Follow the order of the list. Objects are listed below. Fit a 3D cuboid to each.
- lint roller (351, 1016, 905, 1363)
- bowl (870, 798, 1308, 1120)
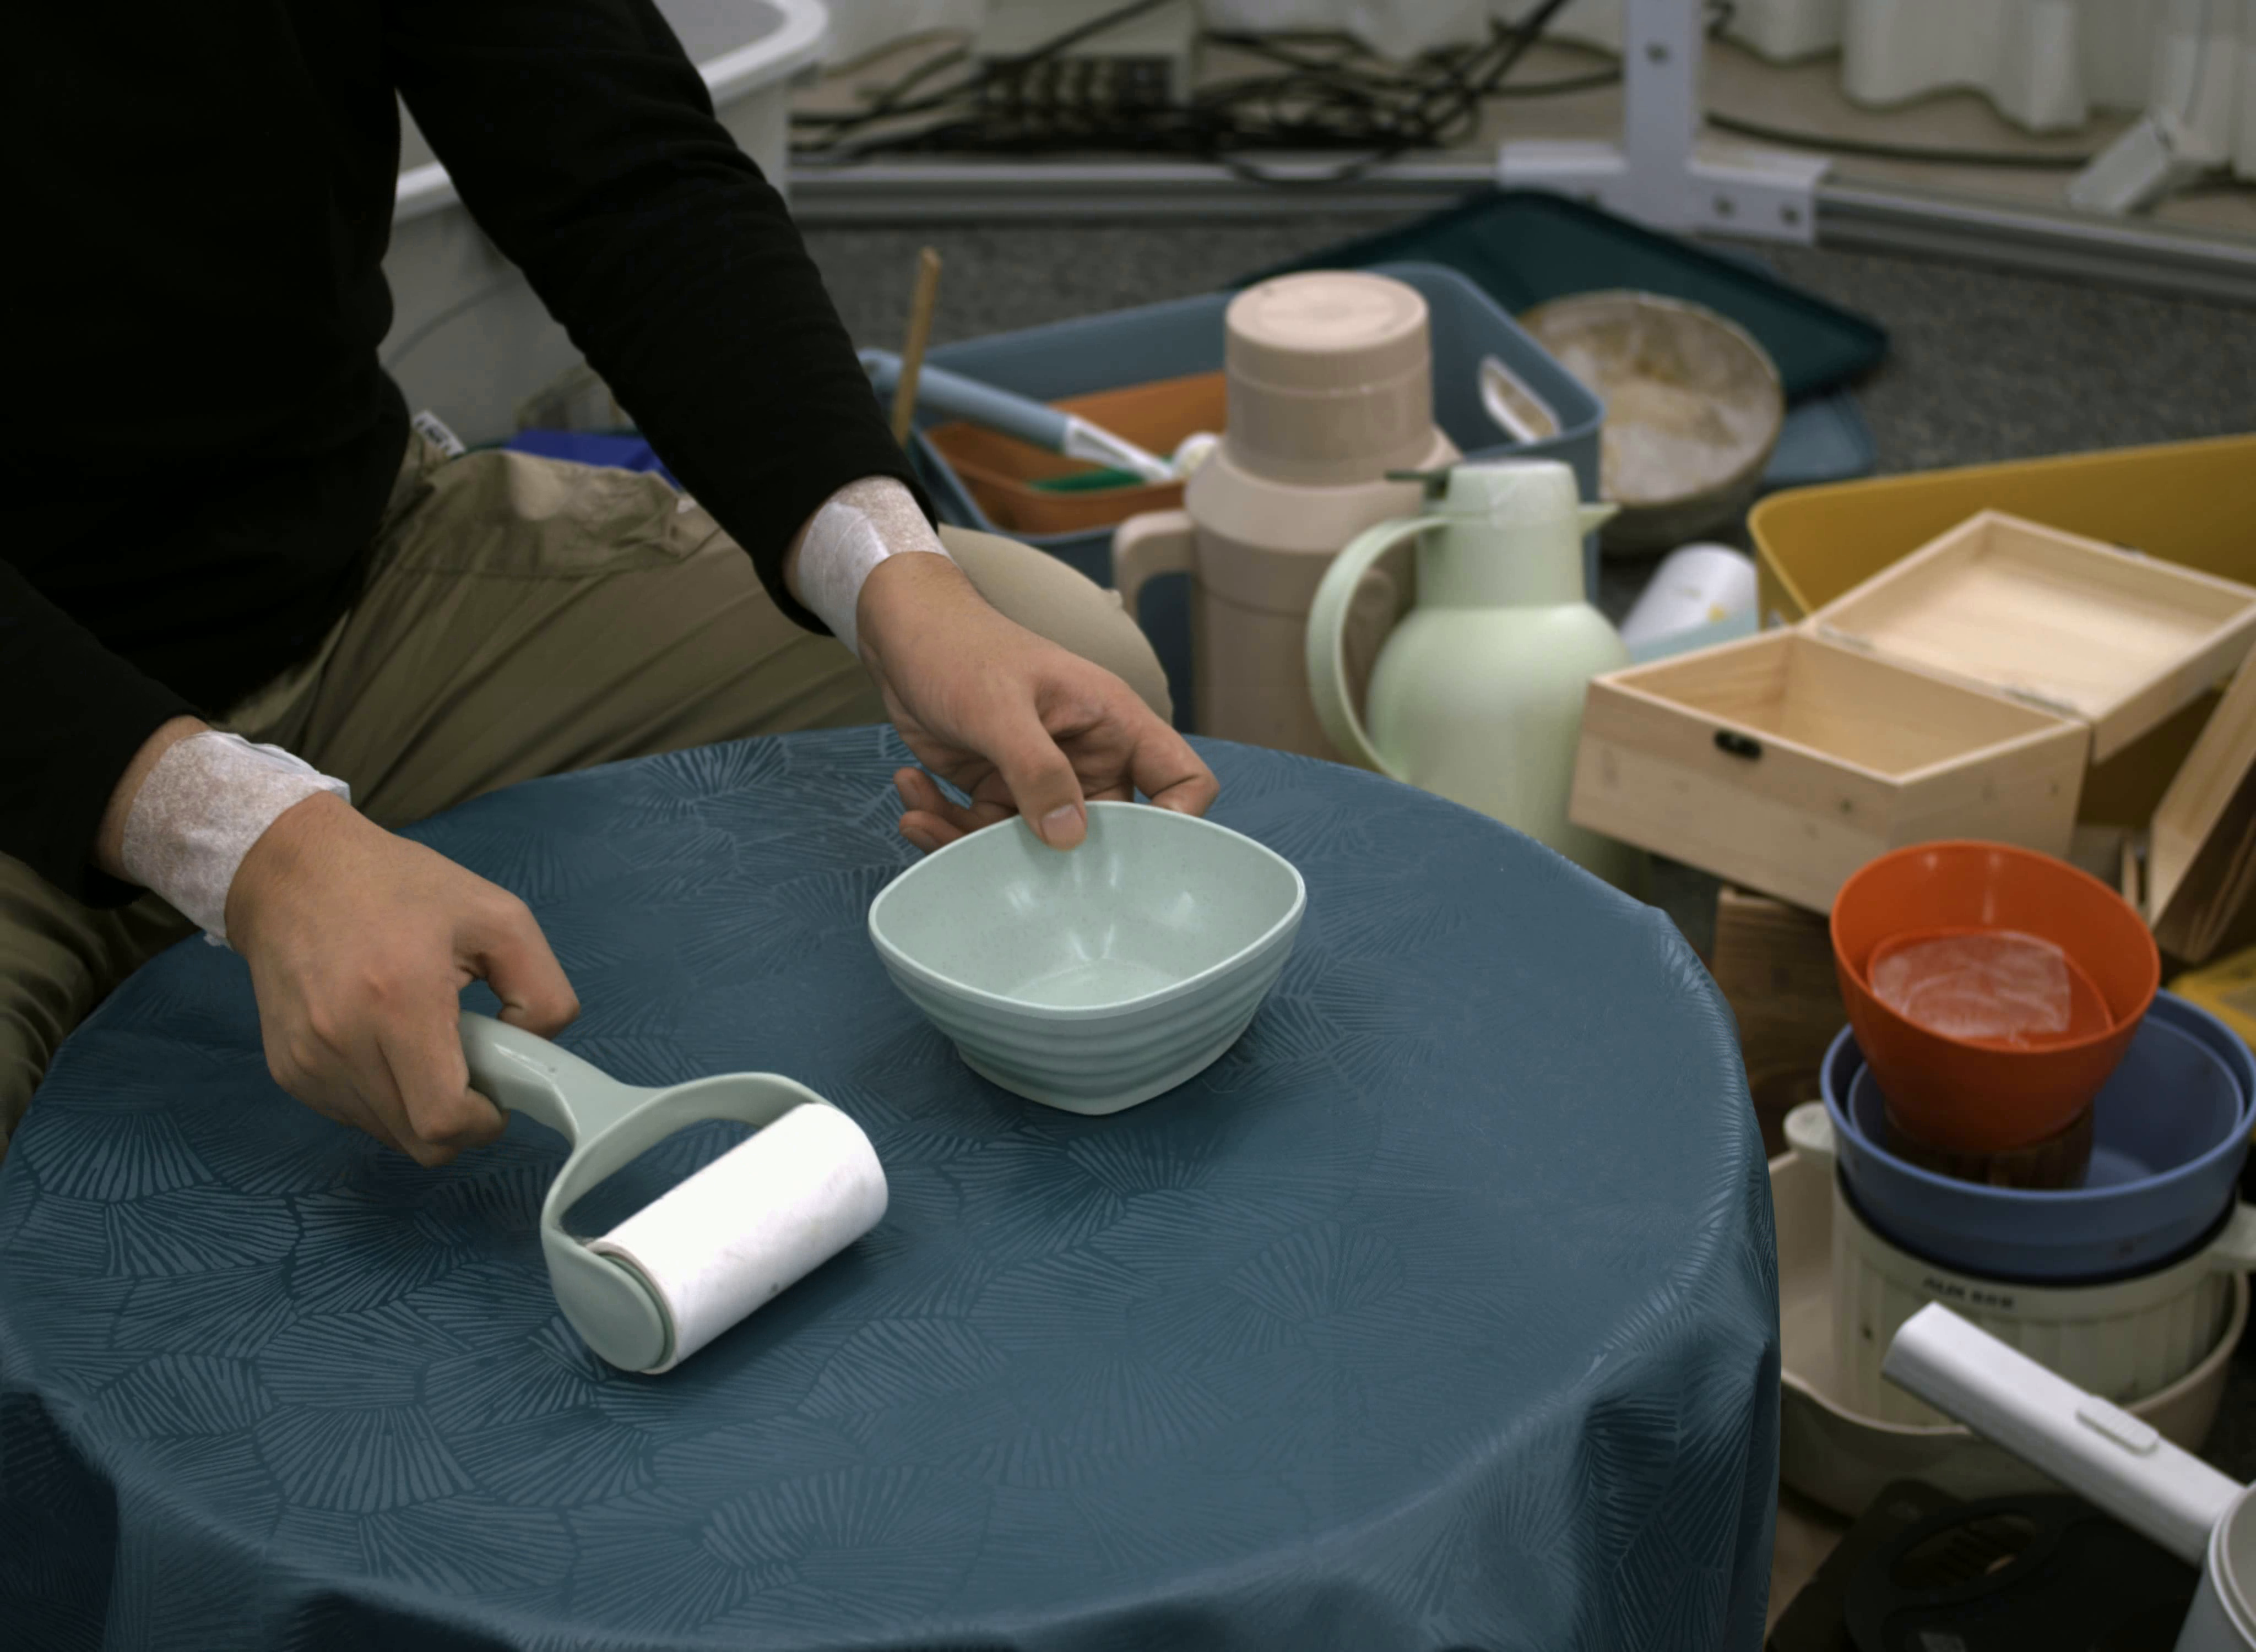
[{"bbox_3d":[-0.177,0.098,1.839,0.197,0.048,0.118,28,42,28],"label":"lint roller"},{"bbox_3d":[-0.012,0.052,1.937,0.151,0.058,0.154,-2,28,2],"label":"bowl"}]
